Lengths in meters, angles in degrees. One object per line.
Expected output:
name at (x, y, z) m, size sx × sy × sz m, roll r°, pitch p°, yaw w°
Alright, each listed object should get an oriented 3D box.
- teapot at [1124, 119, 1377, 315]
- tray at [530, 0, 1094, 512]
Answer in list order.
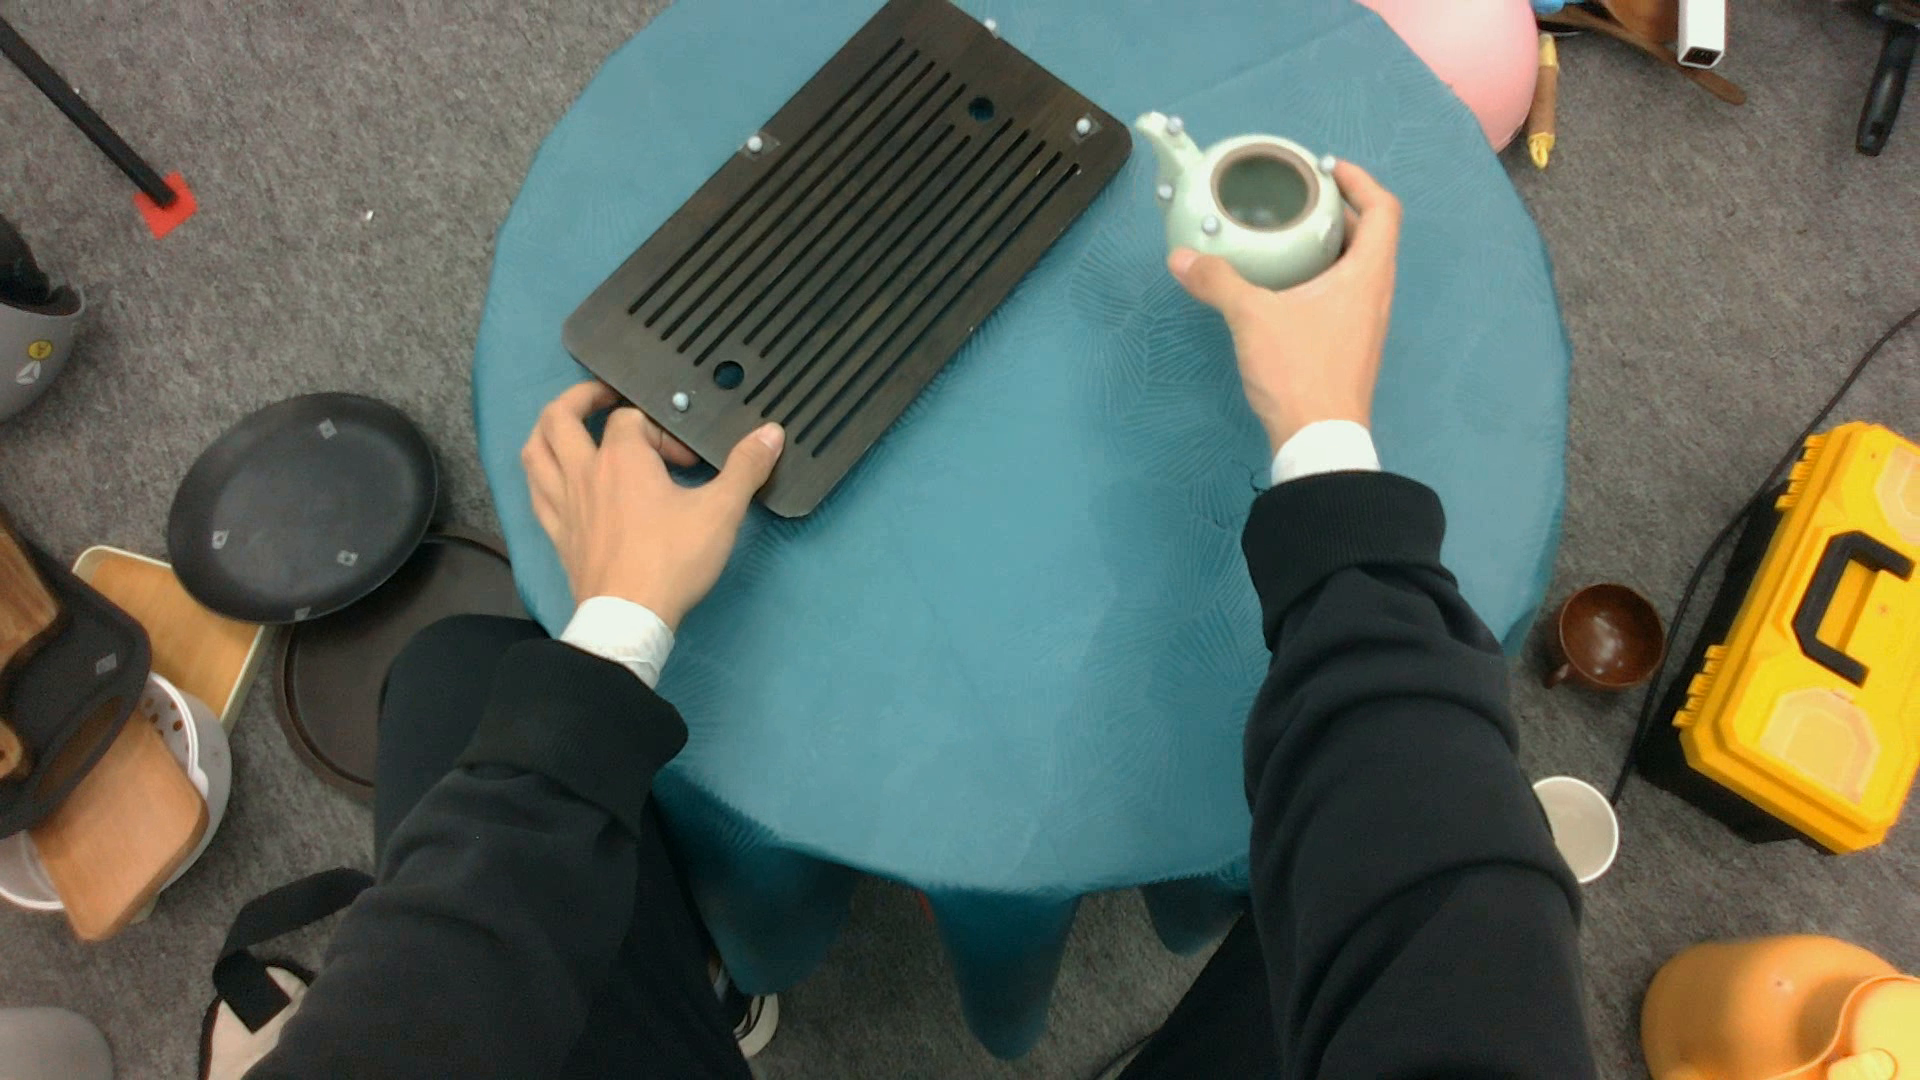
teapot at (0.143, -0.160, 0.705) m, size 0.144 × 0.074 × 0.088 m, roll 34°, pitch 71°, yaw 16°
tray at (-0.076, -0.170, 0.765) m, size 0.170 × 0.018 × 0.307 m, roll 36°, pitch 73°, yaw 9°
